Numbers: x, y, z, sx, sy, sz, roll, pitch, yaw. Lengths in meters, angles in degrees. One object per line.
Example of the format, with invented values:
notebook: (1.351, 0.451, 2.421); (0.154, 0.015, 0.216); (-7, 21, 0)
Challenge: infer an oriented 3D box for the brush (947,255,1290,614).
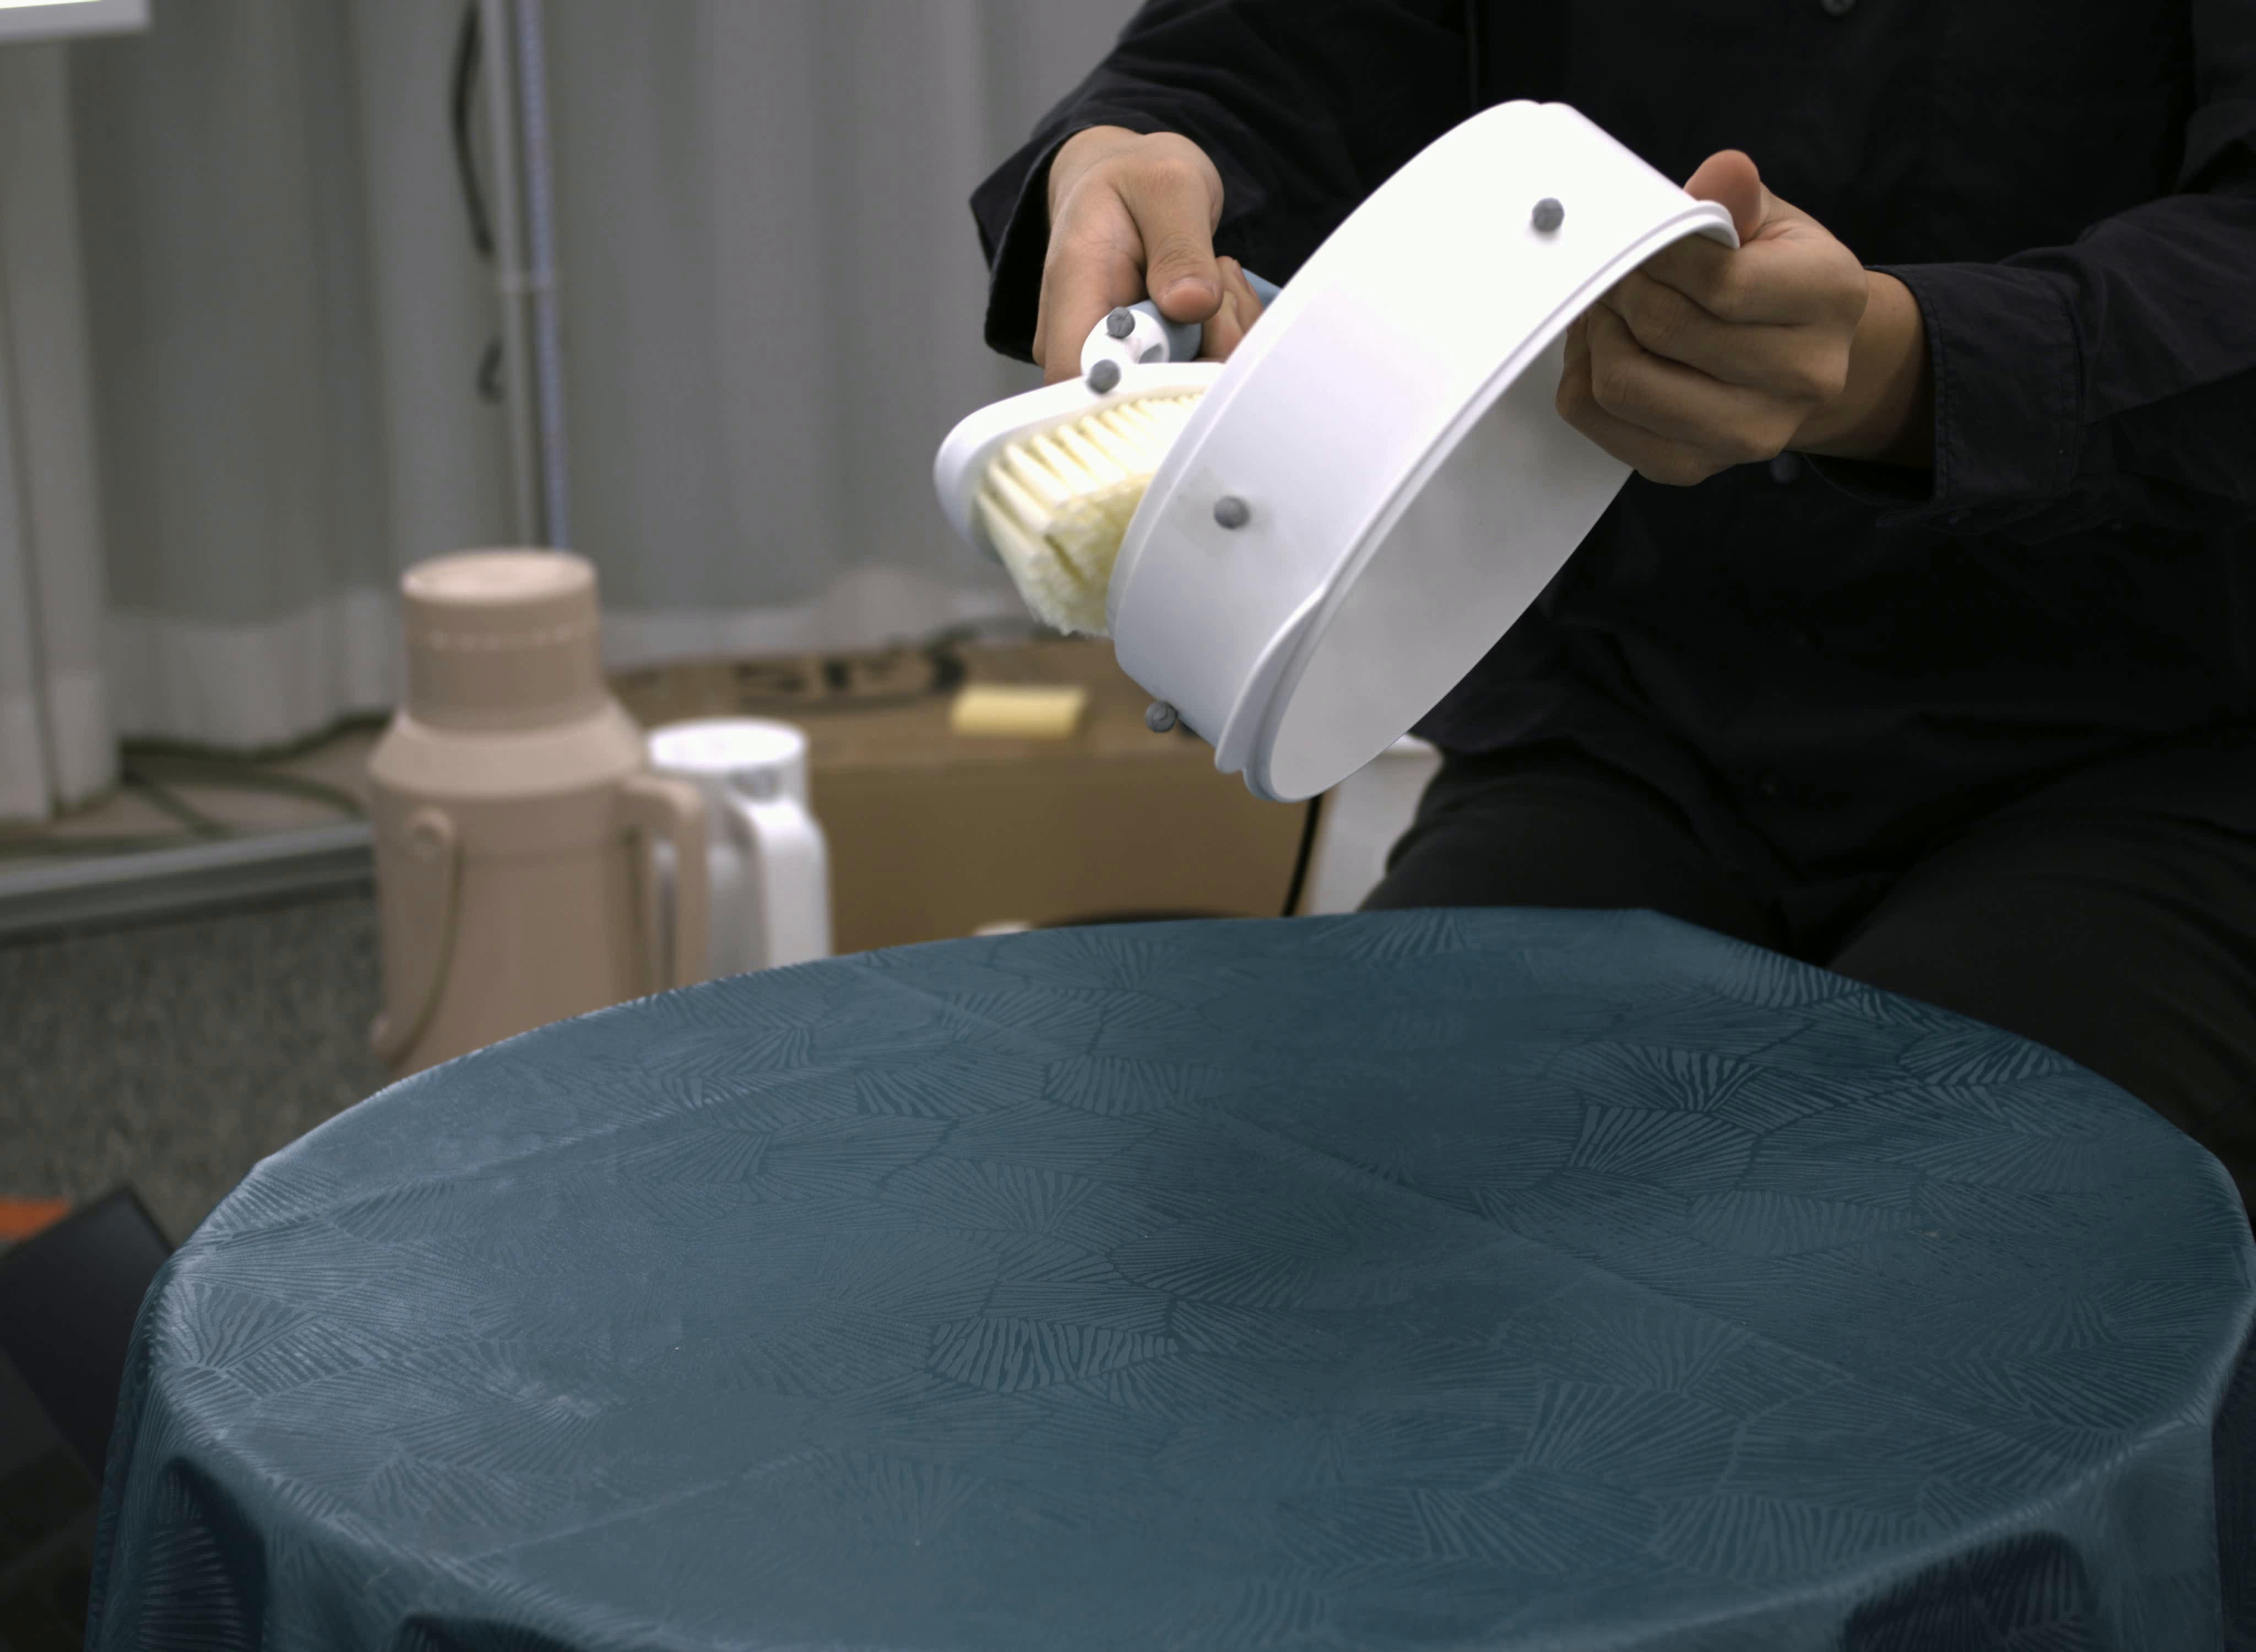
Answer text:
brush: (0.030, -0.116, 1.531); (0.084, 0.084, 0.322); (-16, 7, 18)

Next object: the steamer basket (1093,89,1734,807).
steamer basket: (0.073, -0.102, 1.423); (0.070, 0.202, 0.227); (40, 51, 13)
